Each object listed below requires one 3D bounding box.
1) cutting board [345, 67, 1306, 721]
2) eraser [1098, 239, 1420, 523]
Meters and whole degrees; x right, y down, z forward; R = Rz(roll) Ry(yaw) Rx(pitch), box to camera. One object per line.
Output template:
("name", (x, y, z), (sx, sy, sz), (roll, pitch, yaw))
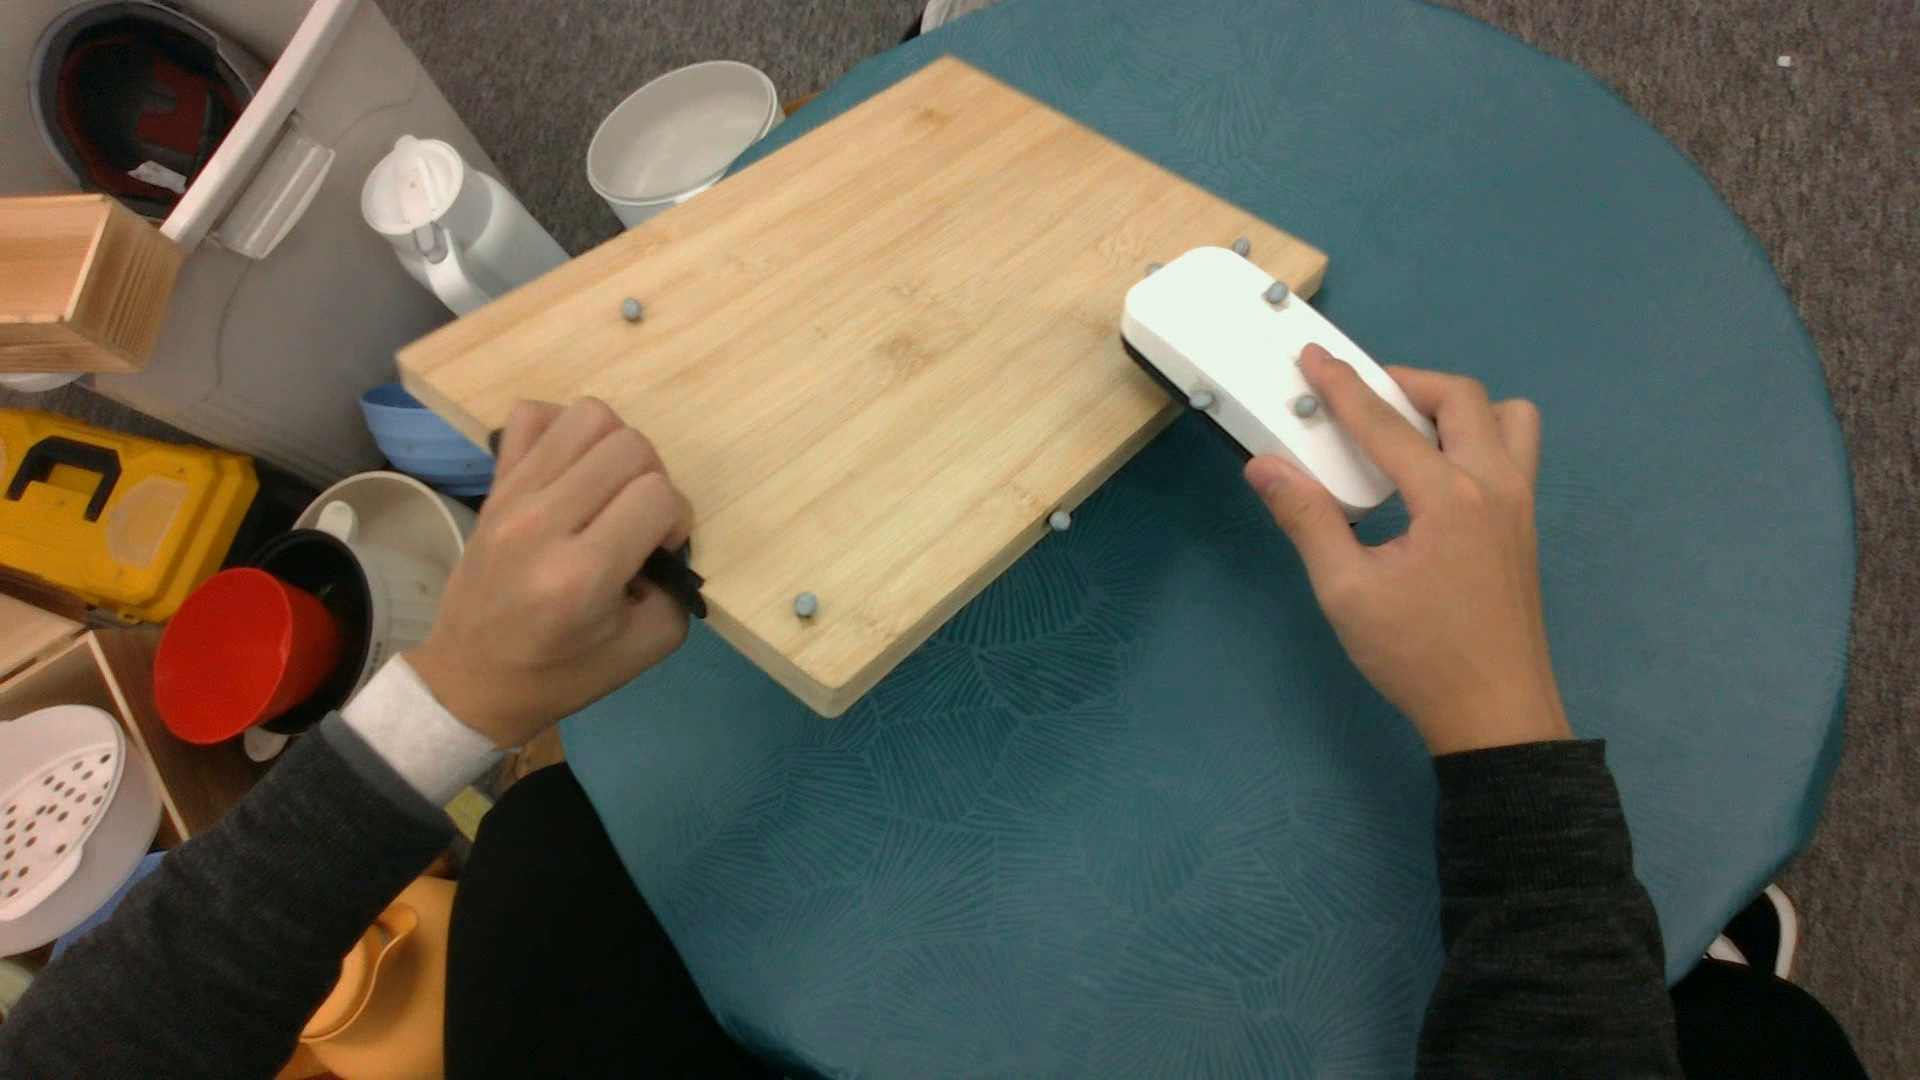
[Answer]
("cutting board", (-0.037, -0.095, 0.595), (0.251, 0.023, 0.350), (33, 50, 21))
("eraser", (0.114, -0.065, 0.540), (0.063, 0.034, 0.131), (-36, 70, -29))
